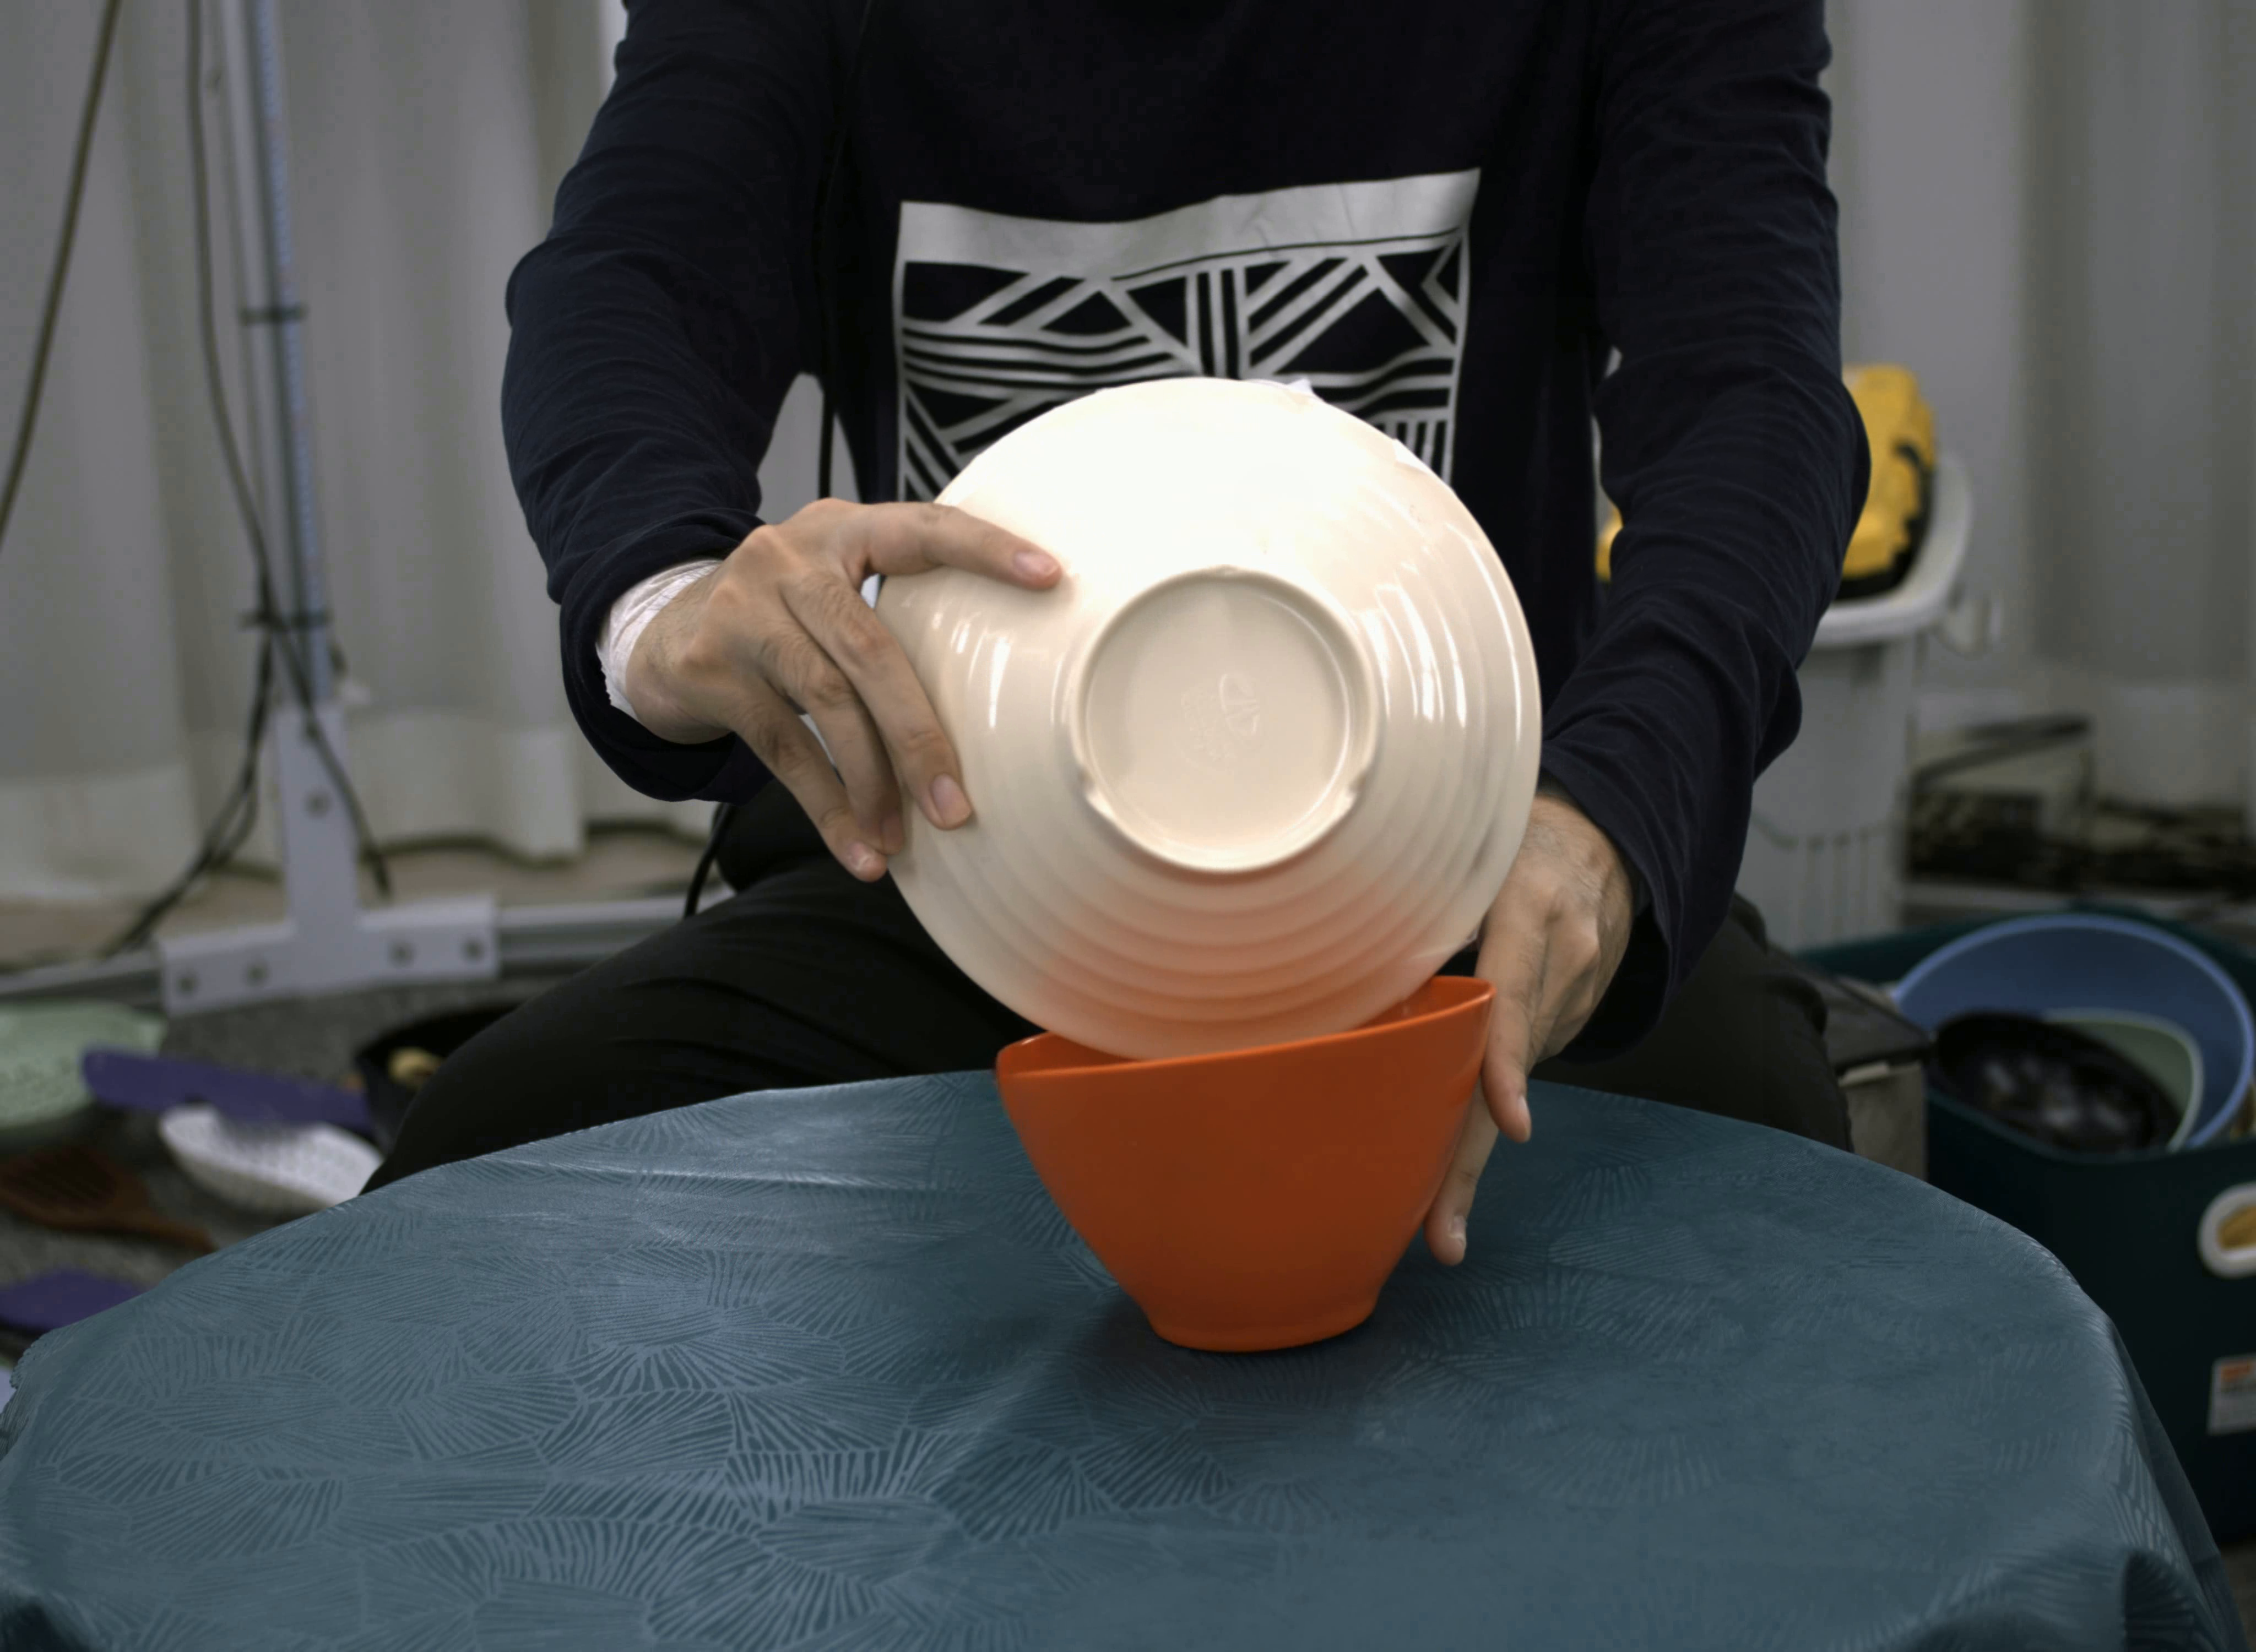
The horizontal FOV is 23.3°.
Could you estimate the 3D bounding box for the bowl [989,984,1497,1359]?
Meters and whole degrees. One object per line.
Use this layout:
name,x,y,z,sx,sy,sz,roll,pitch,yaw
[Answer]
bowl,0.037,0.097,1.576,0.147,0.104,0.149,-6,11,1

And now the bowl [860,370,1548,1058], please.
bowl,0.026,-0.033,1.570,0.203,0.205,0.078,-4,-3,-5
